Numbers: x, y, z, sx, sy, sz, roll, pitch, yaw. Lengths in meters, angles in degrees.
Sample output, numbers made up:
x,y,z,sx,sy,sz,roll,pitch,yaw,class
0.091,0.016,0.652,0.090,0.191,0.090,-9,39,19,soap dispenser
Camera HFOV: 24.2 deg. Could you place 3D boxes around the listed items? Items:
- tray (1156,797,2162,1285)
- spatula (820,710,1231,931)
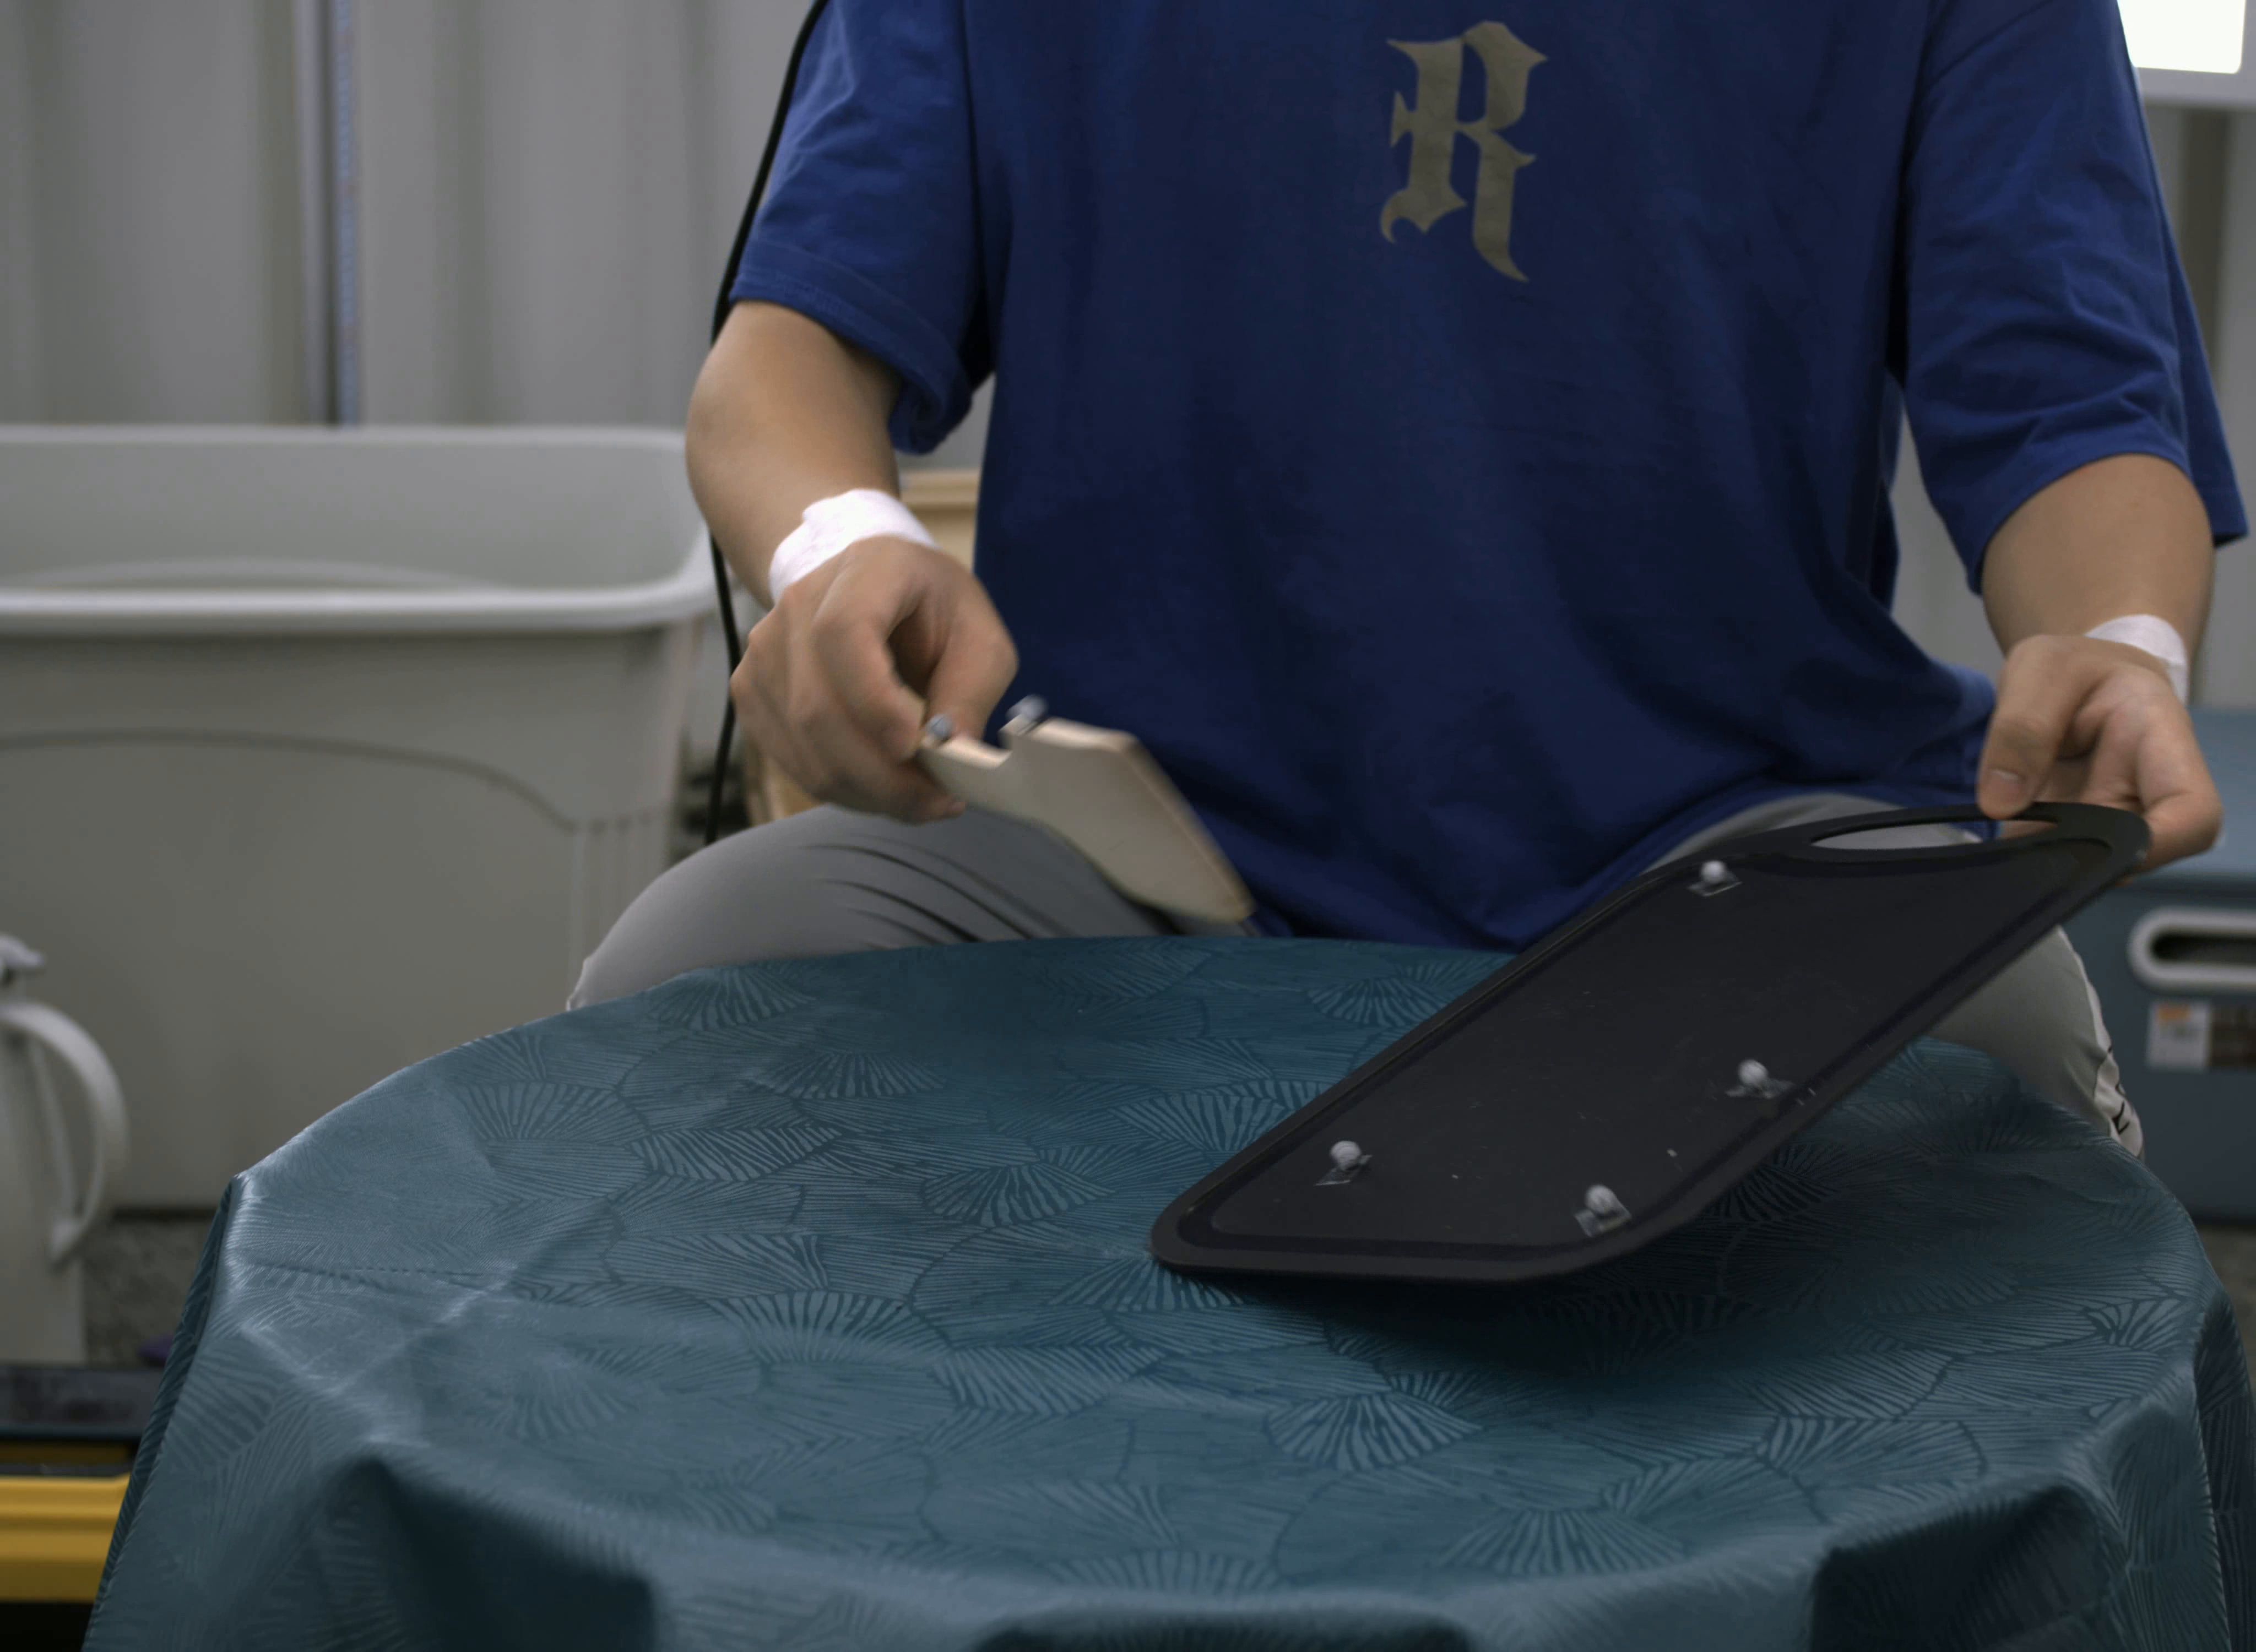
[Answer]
x,y,z,sx,sy,sz,roll,pitch,yaw,class
0.167,0.058,1.602,0.326,0.010,0.209,-32,20,-38,tray
-0.045,-0.012,1.657,0.010,0.073,0.290,-44,21,-11,spatula
